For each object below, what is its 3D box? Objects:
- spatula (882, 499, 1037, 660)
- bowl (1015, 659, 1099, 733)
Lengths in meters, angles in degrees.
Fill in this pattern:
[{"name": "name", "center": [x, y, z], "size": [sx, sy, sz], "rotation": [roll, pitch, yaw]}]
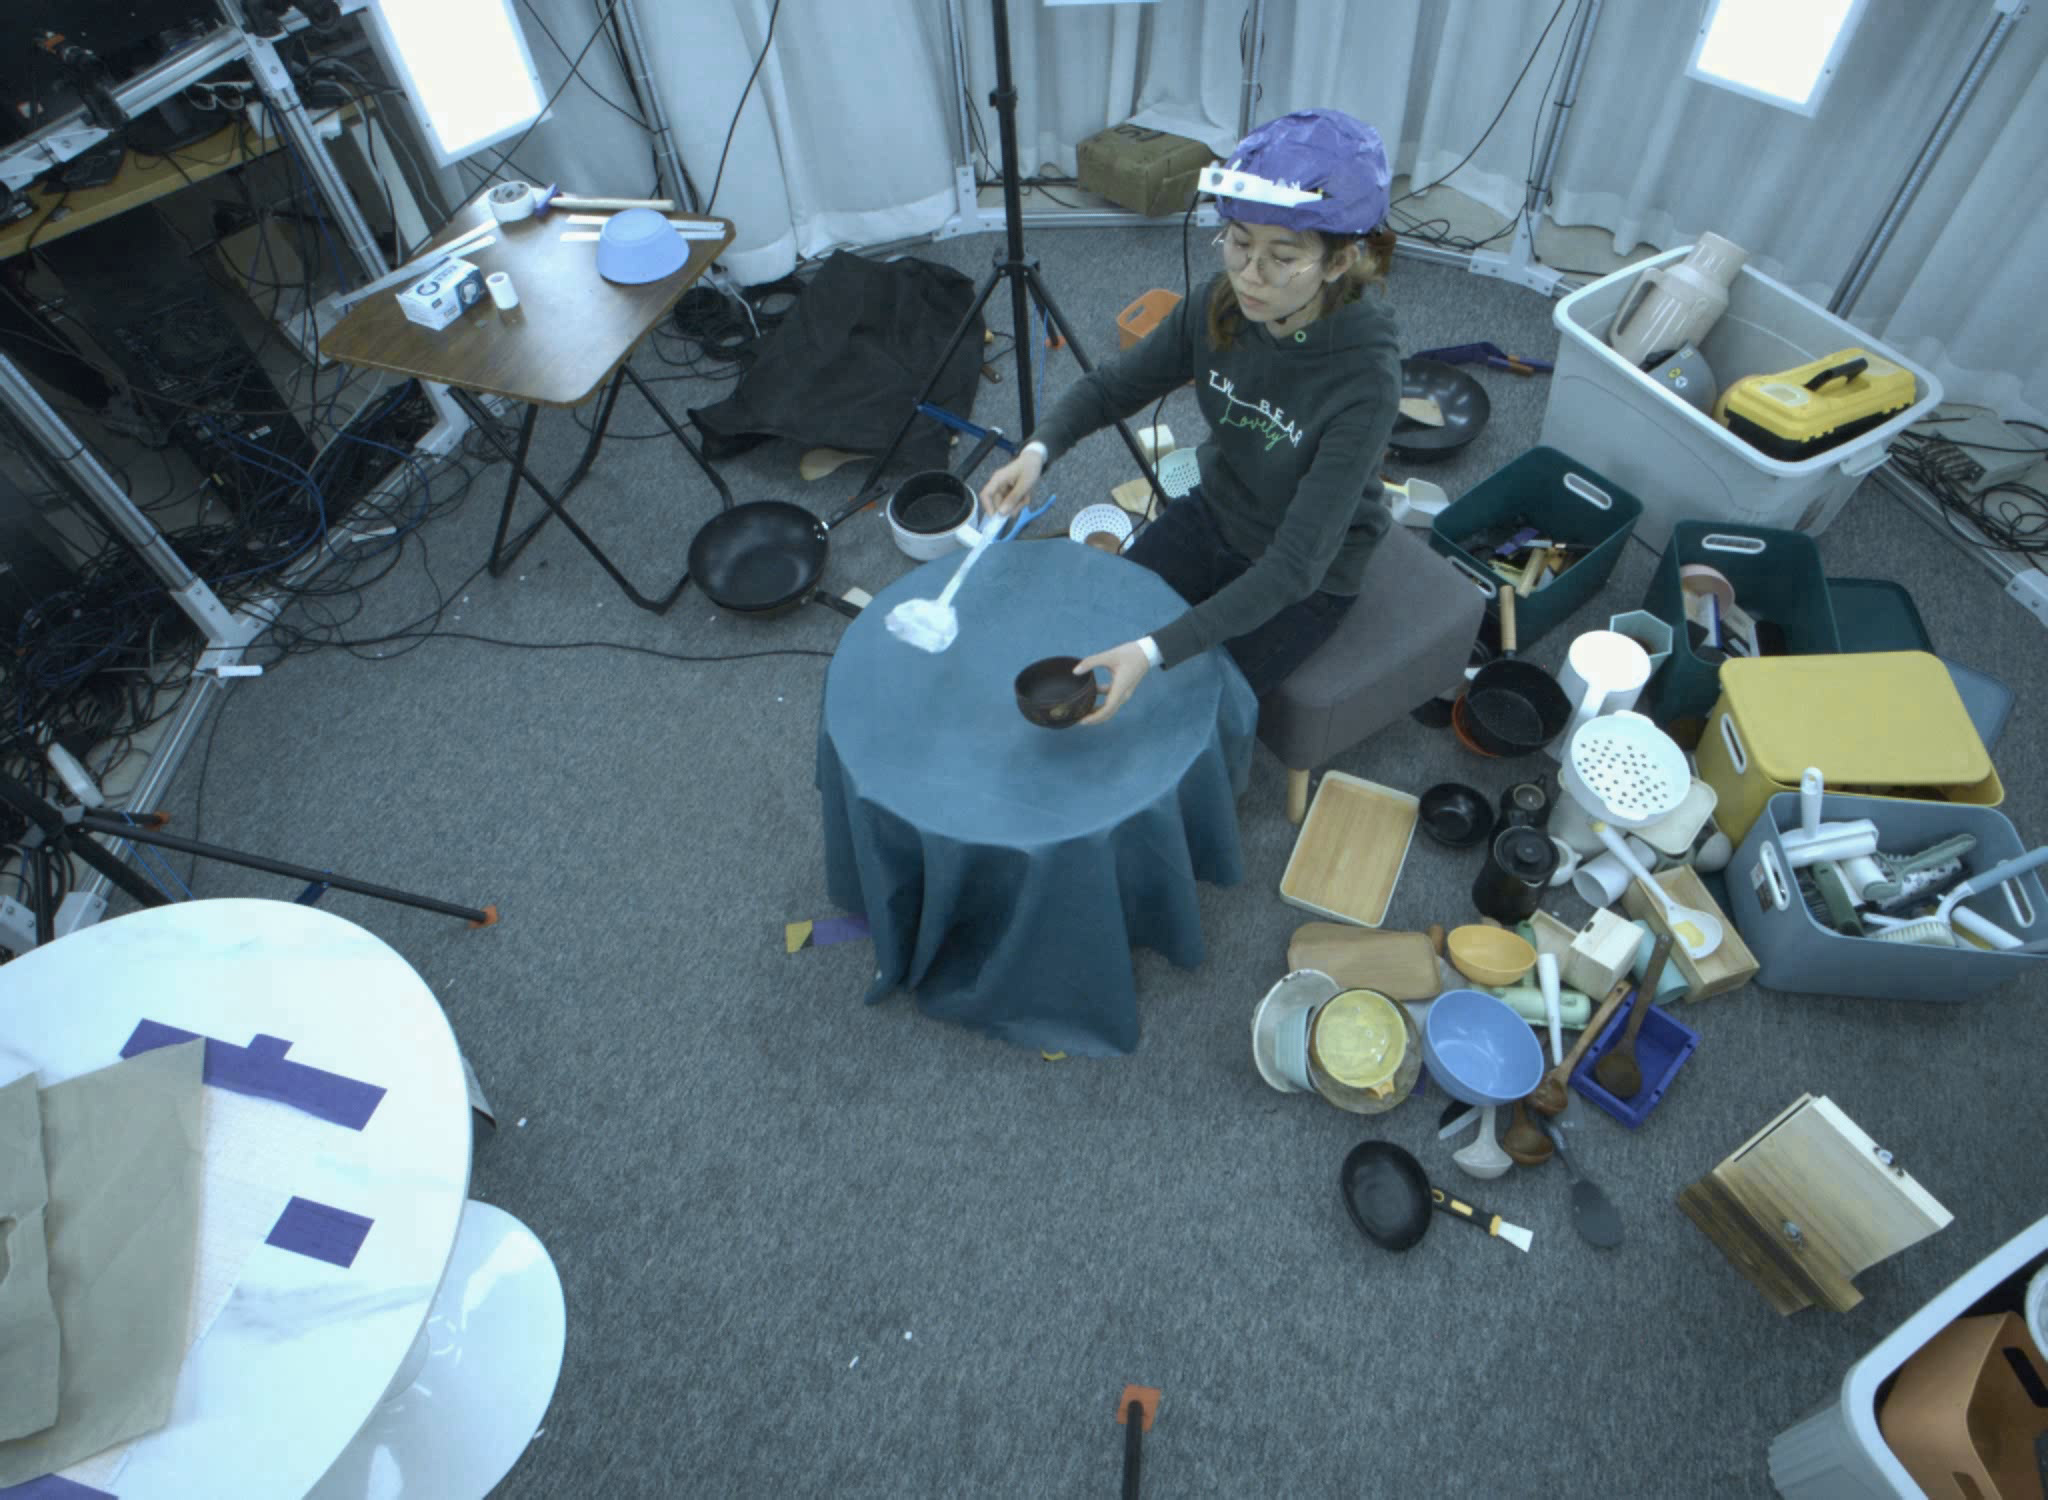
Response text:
[{"name": "spatula", "center": [-0.079, -0.269, 1.817], "size": [0.098, 0.045, 0.365], "rotation": [30, 65, 7]}, {"name": "bowl", "center": [0.049, -0.069, 1.742], "size": [0.117, 0.071, 0.117], "rotation": [-6, 39, 6]}]
